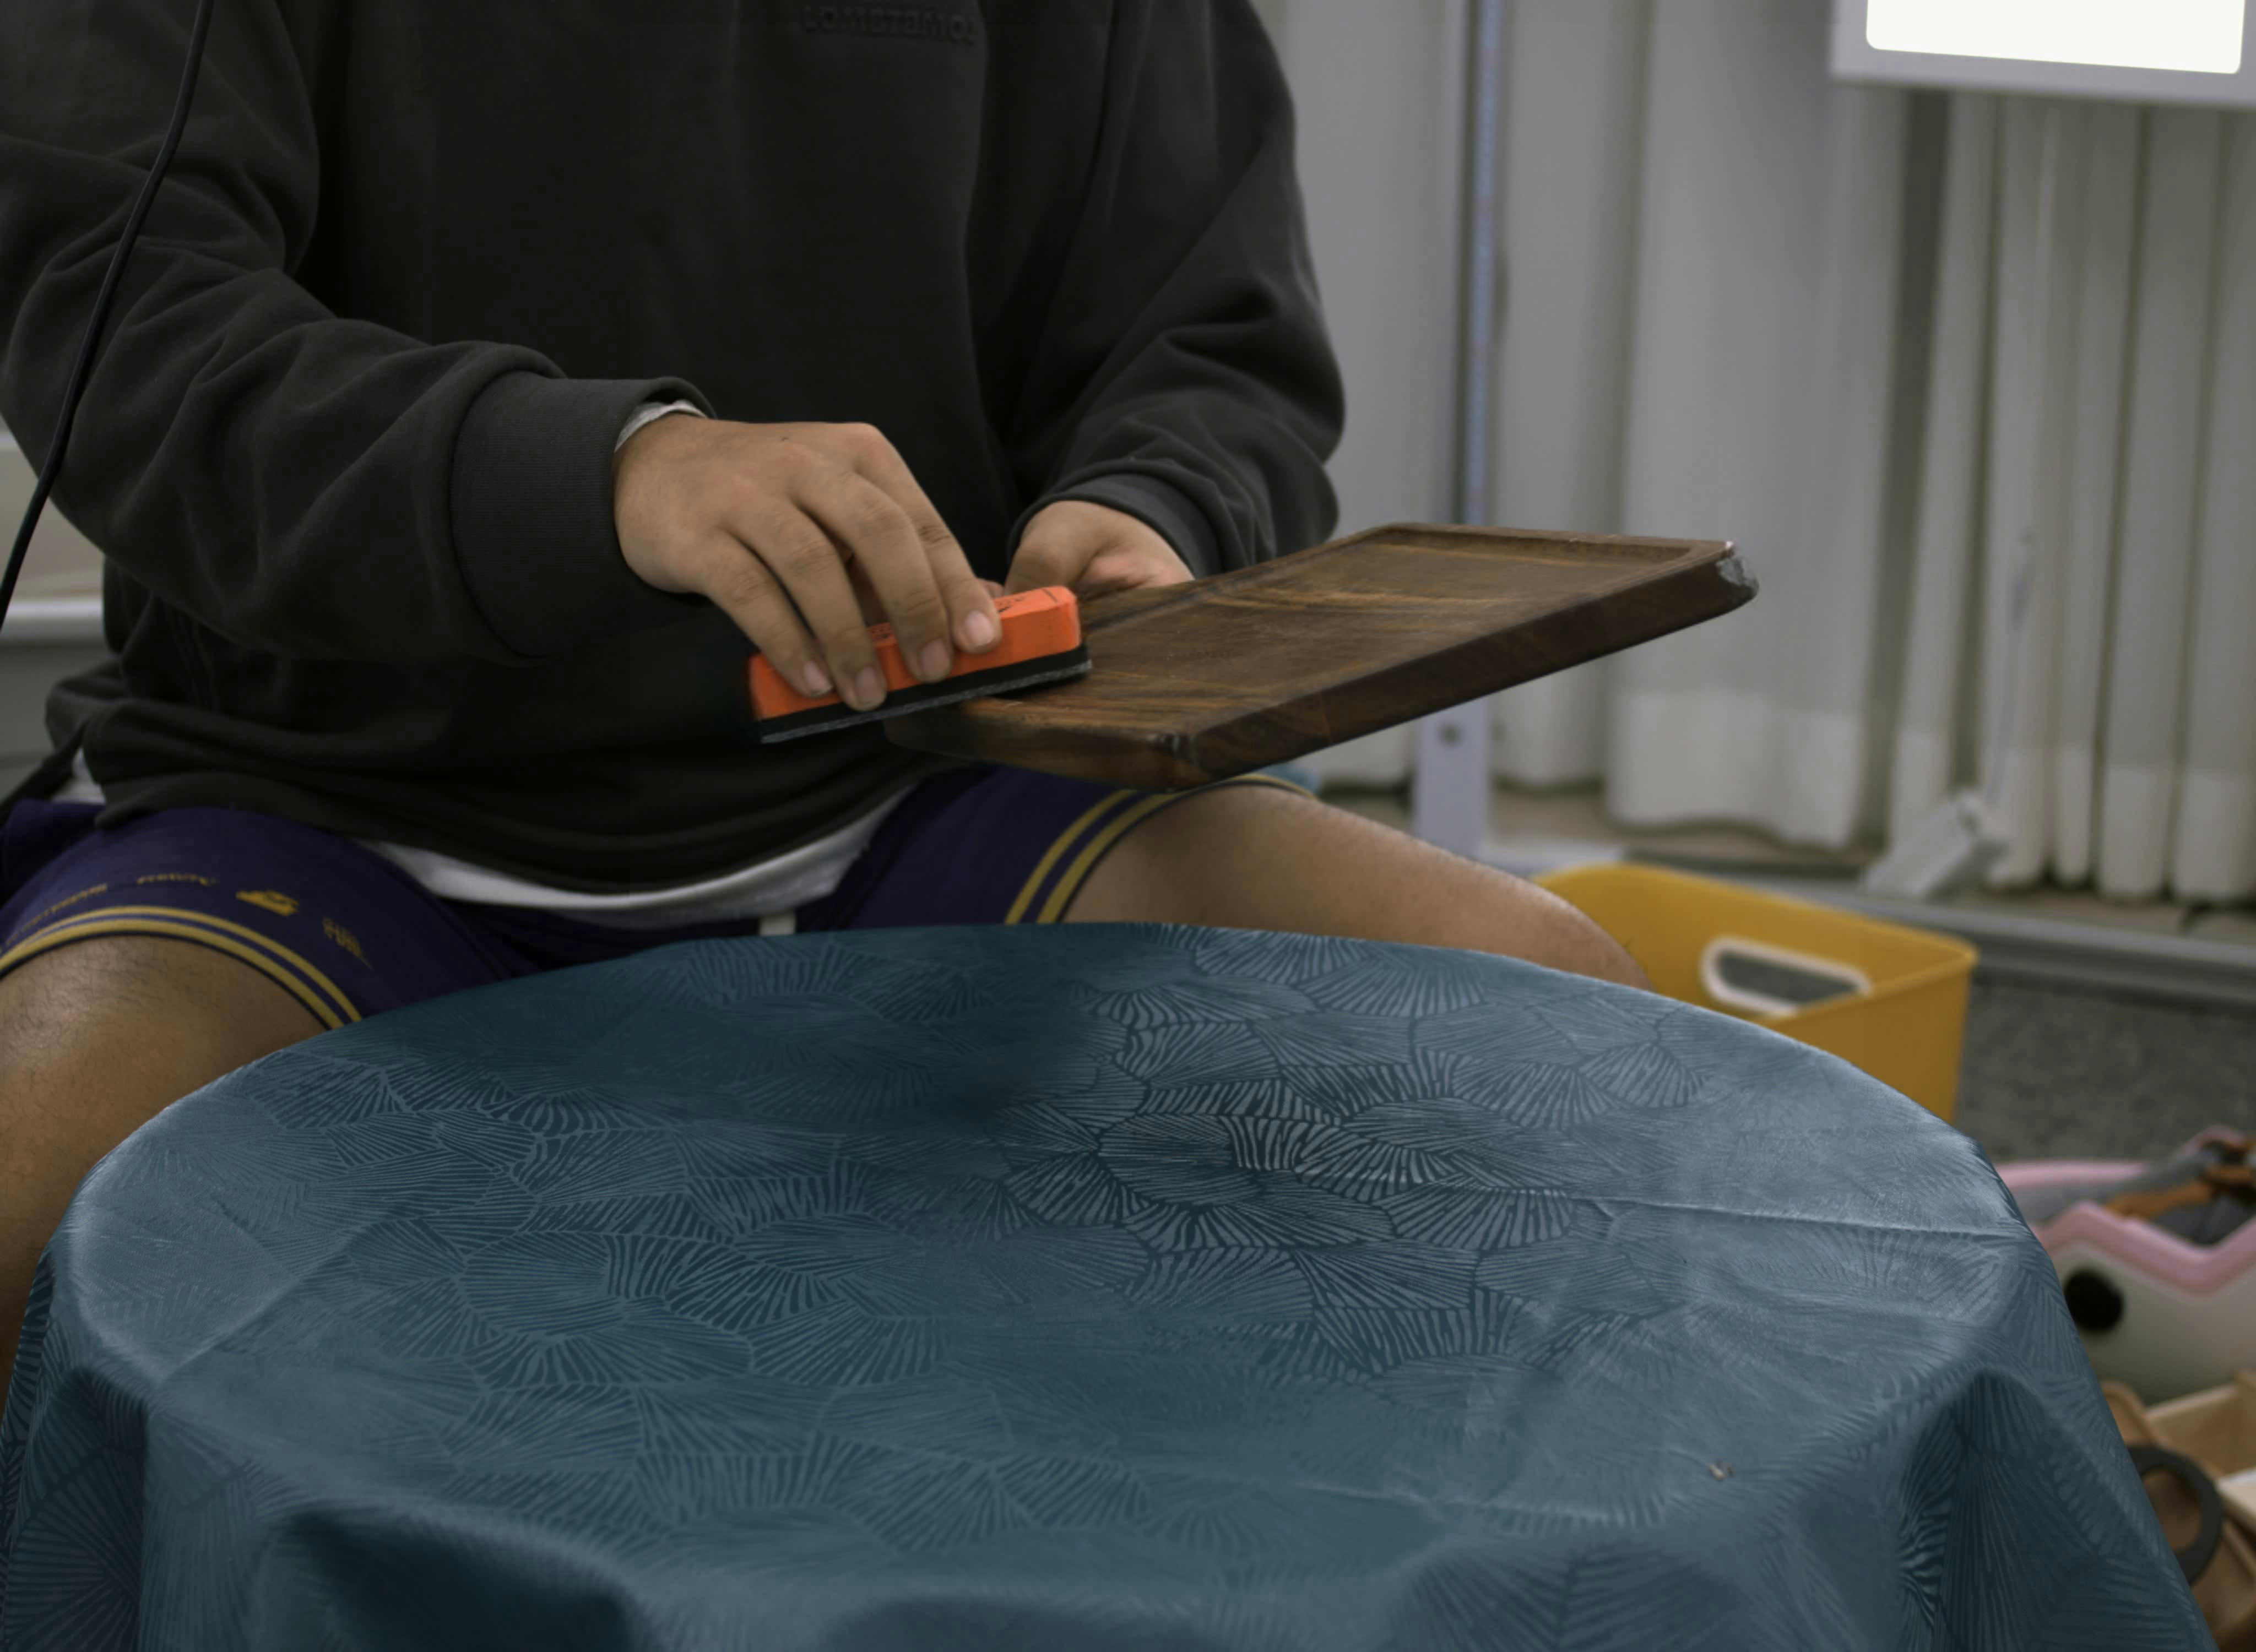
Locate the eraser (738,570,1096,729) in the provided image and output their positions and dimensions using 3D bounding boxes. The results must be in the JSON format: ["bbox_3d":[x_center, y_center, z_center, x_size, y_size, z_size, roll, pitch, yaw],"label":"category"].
[{"bbox_3d":[-0.066,-0.055,1.642,0.108,0.023,0.058,-14,8,-7],"label":"eraser"}]

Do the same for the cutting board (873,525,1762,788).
[{"bbox_3d":[0.033,-0.059,1.660,0.201,0.023,0.349,-18,11,-21],"label":"cutting board"}]
